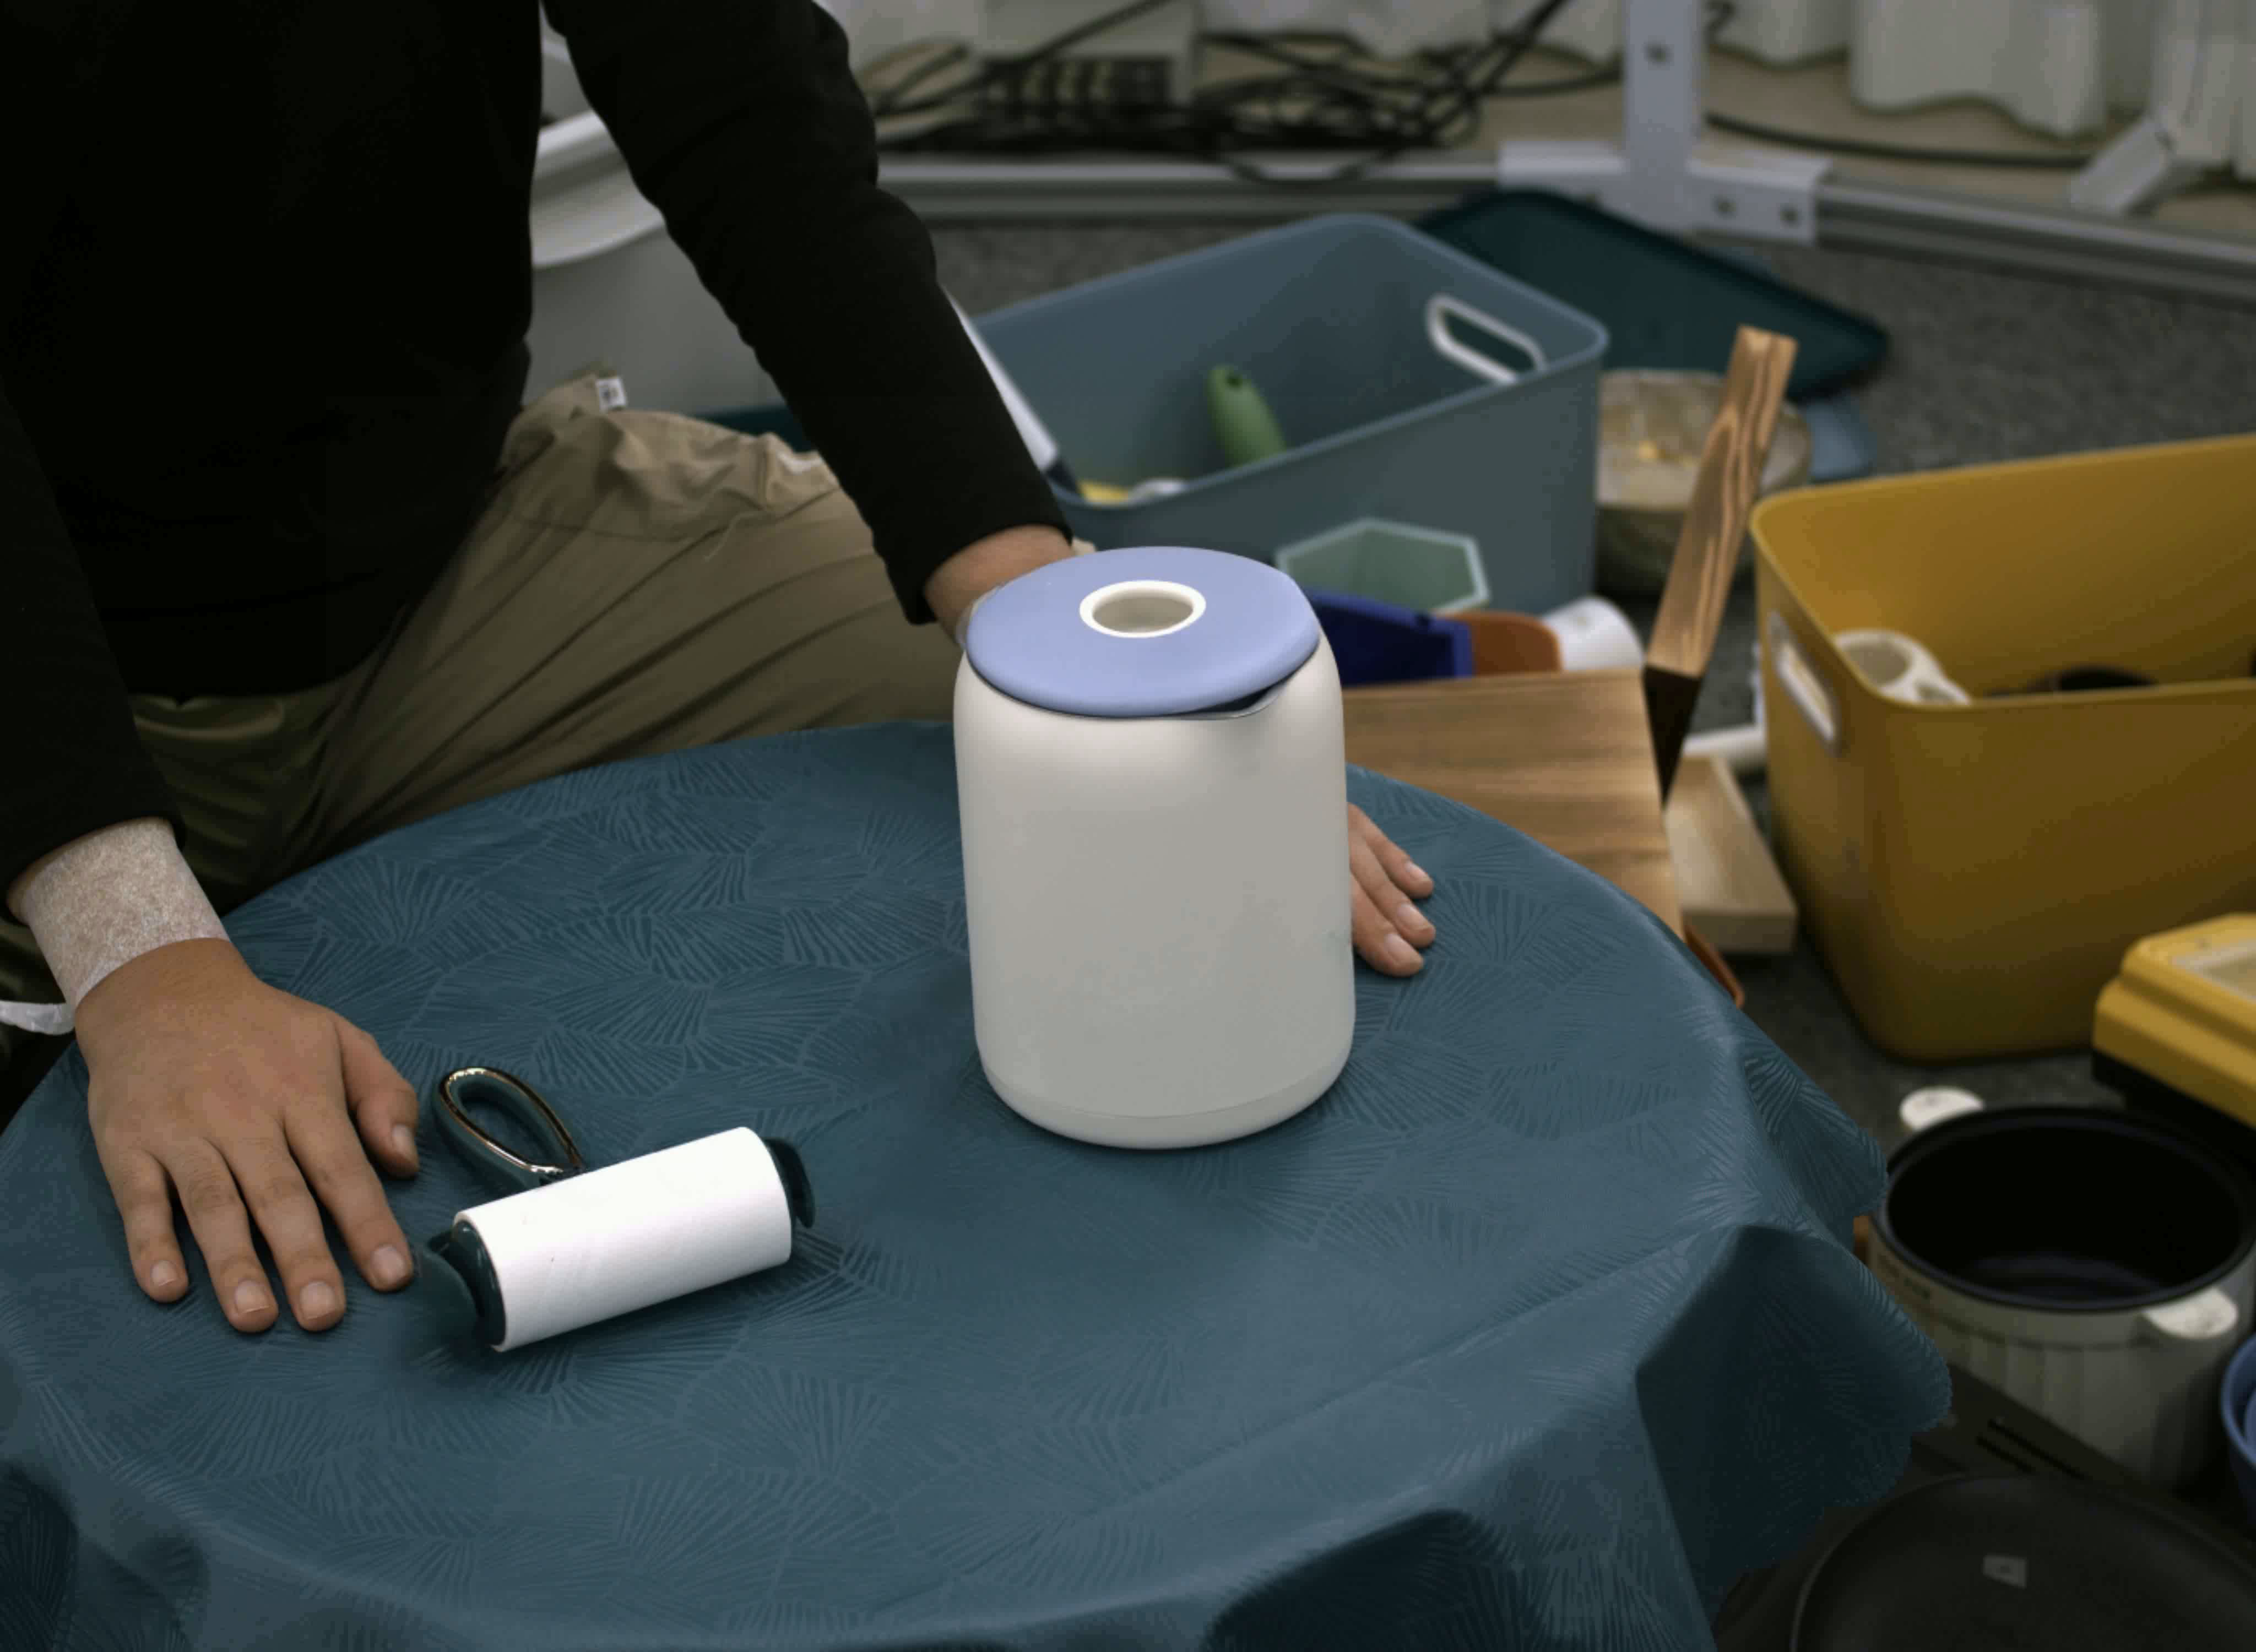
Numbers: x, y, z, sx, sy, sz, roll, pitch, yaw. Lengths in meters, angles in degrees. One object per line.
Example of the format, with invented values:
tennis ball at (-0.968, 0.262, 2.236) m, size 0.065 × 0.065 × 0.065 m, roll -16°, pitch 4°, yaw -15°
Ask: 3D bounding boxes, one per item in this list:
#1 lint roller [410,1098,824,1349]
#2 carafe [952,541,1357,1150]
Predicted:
lint roller at (-0.194, 0.109, 1.860) m, size 0.135 × 0.048 × 0.181 m, roll -16°, pitch 27°, yaw -23°
carafe at (-0.004, -0.002, 1.917) m, size 0.133 × 0.181 × 0.191 m, roll -18°, pitch 28°, yaw -28°
